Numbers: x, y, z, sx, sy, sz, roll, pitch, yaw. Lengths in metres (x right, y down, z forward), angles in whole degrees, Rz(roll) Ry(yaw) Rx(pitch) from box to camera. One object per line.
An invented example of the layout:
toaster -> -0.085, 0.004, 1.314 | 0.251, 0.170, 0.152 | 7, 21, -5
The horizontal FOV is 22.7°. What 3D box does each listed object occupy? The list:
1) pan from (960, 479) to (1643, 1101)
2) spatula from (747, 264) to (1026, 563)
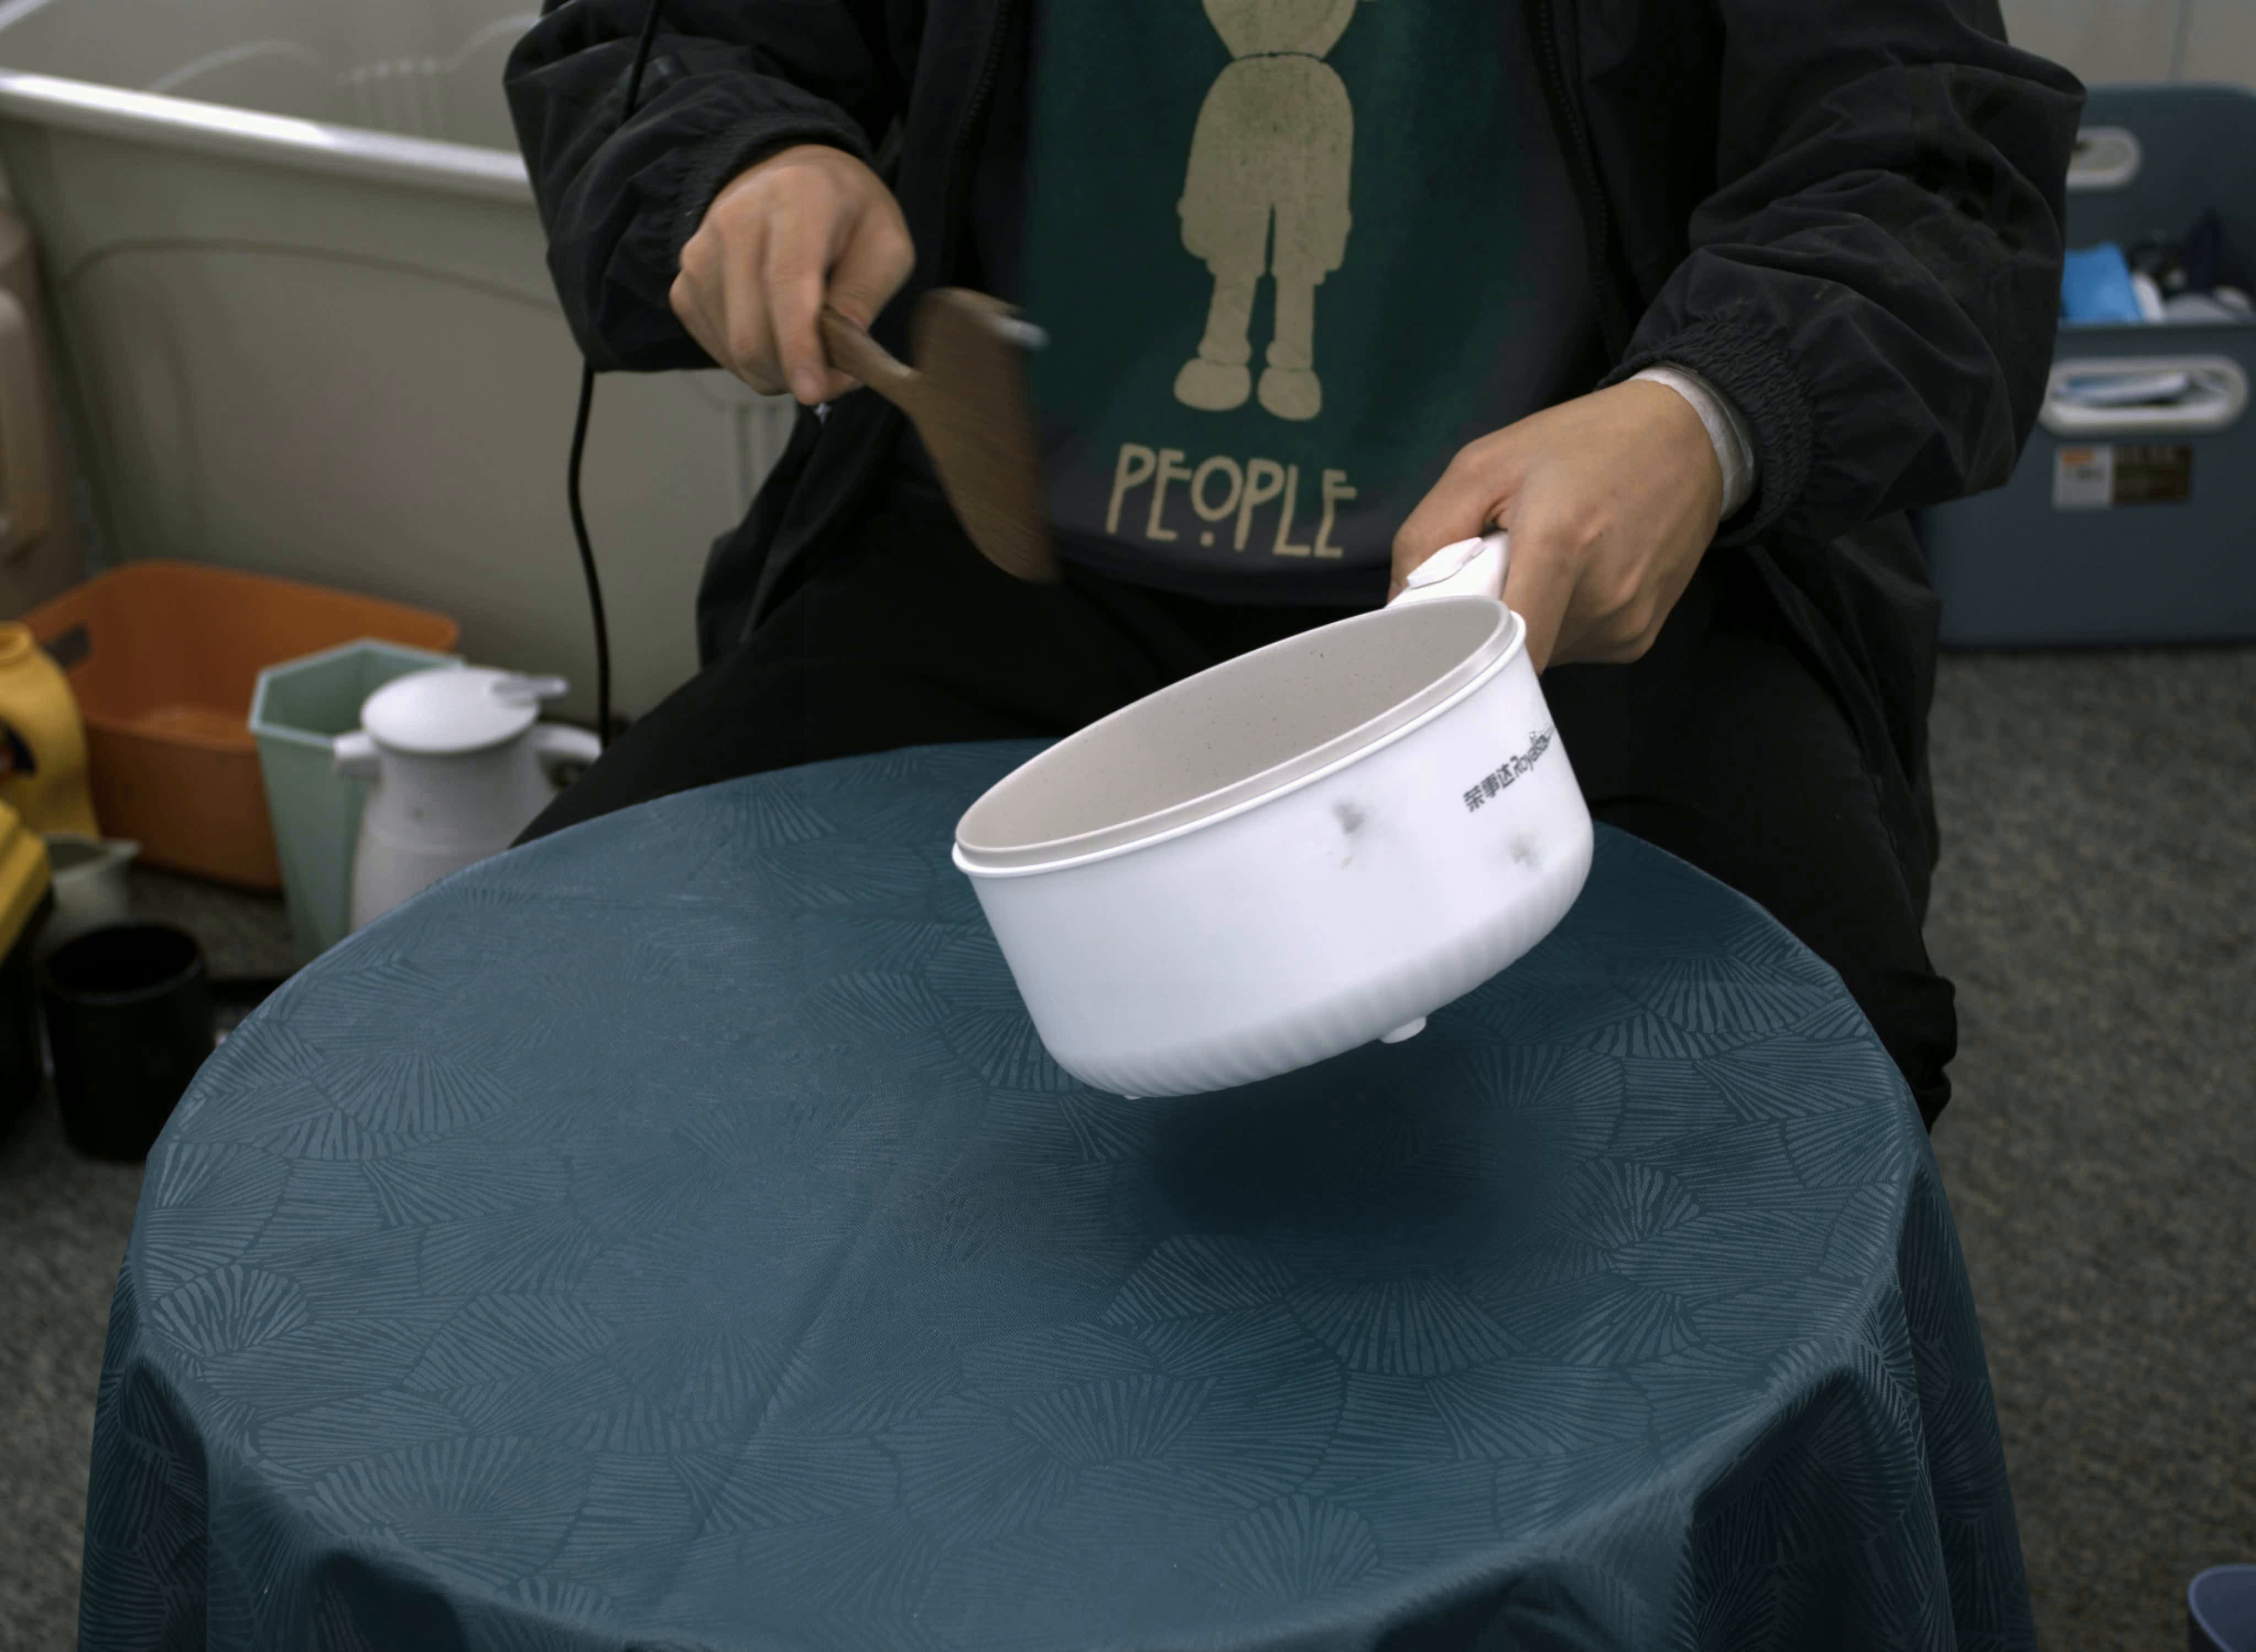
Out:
pan -> 0.091, -0.016, 1.891 | 0.198, 0.102, 0.360 | -16, 12, 35
spatula -> -0.090, -0.161, 1.946 | 0.016, 0.096, 0.387 | -17, 15, -10
